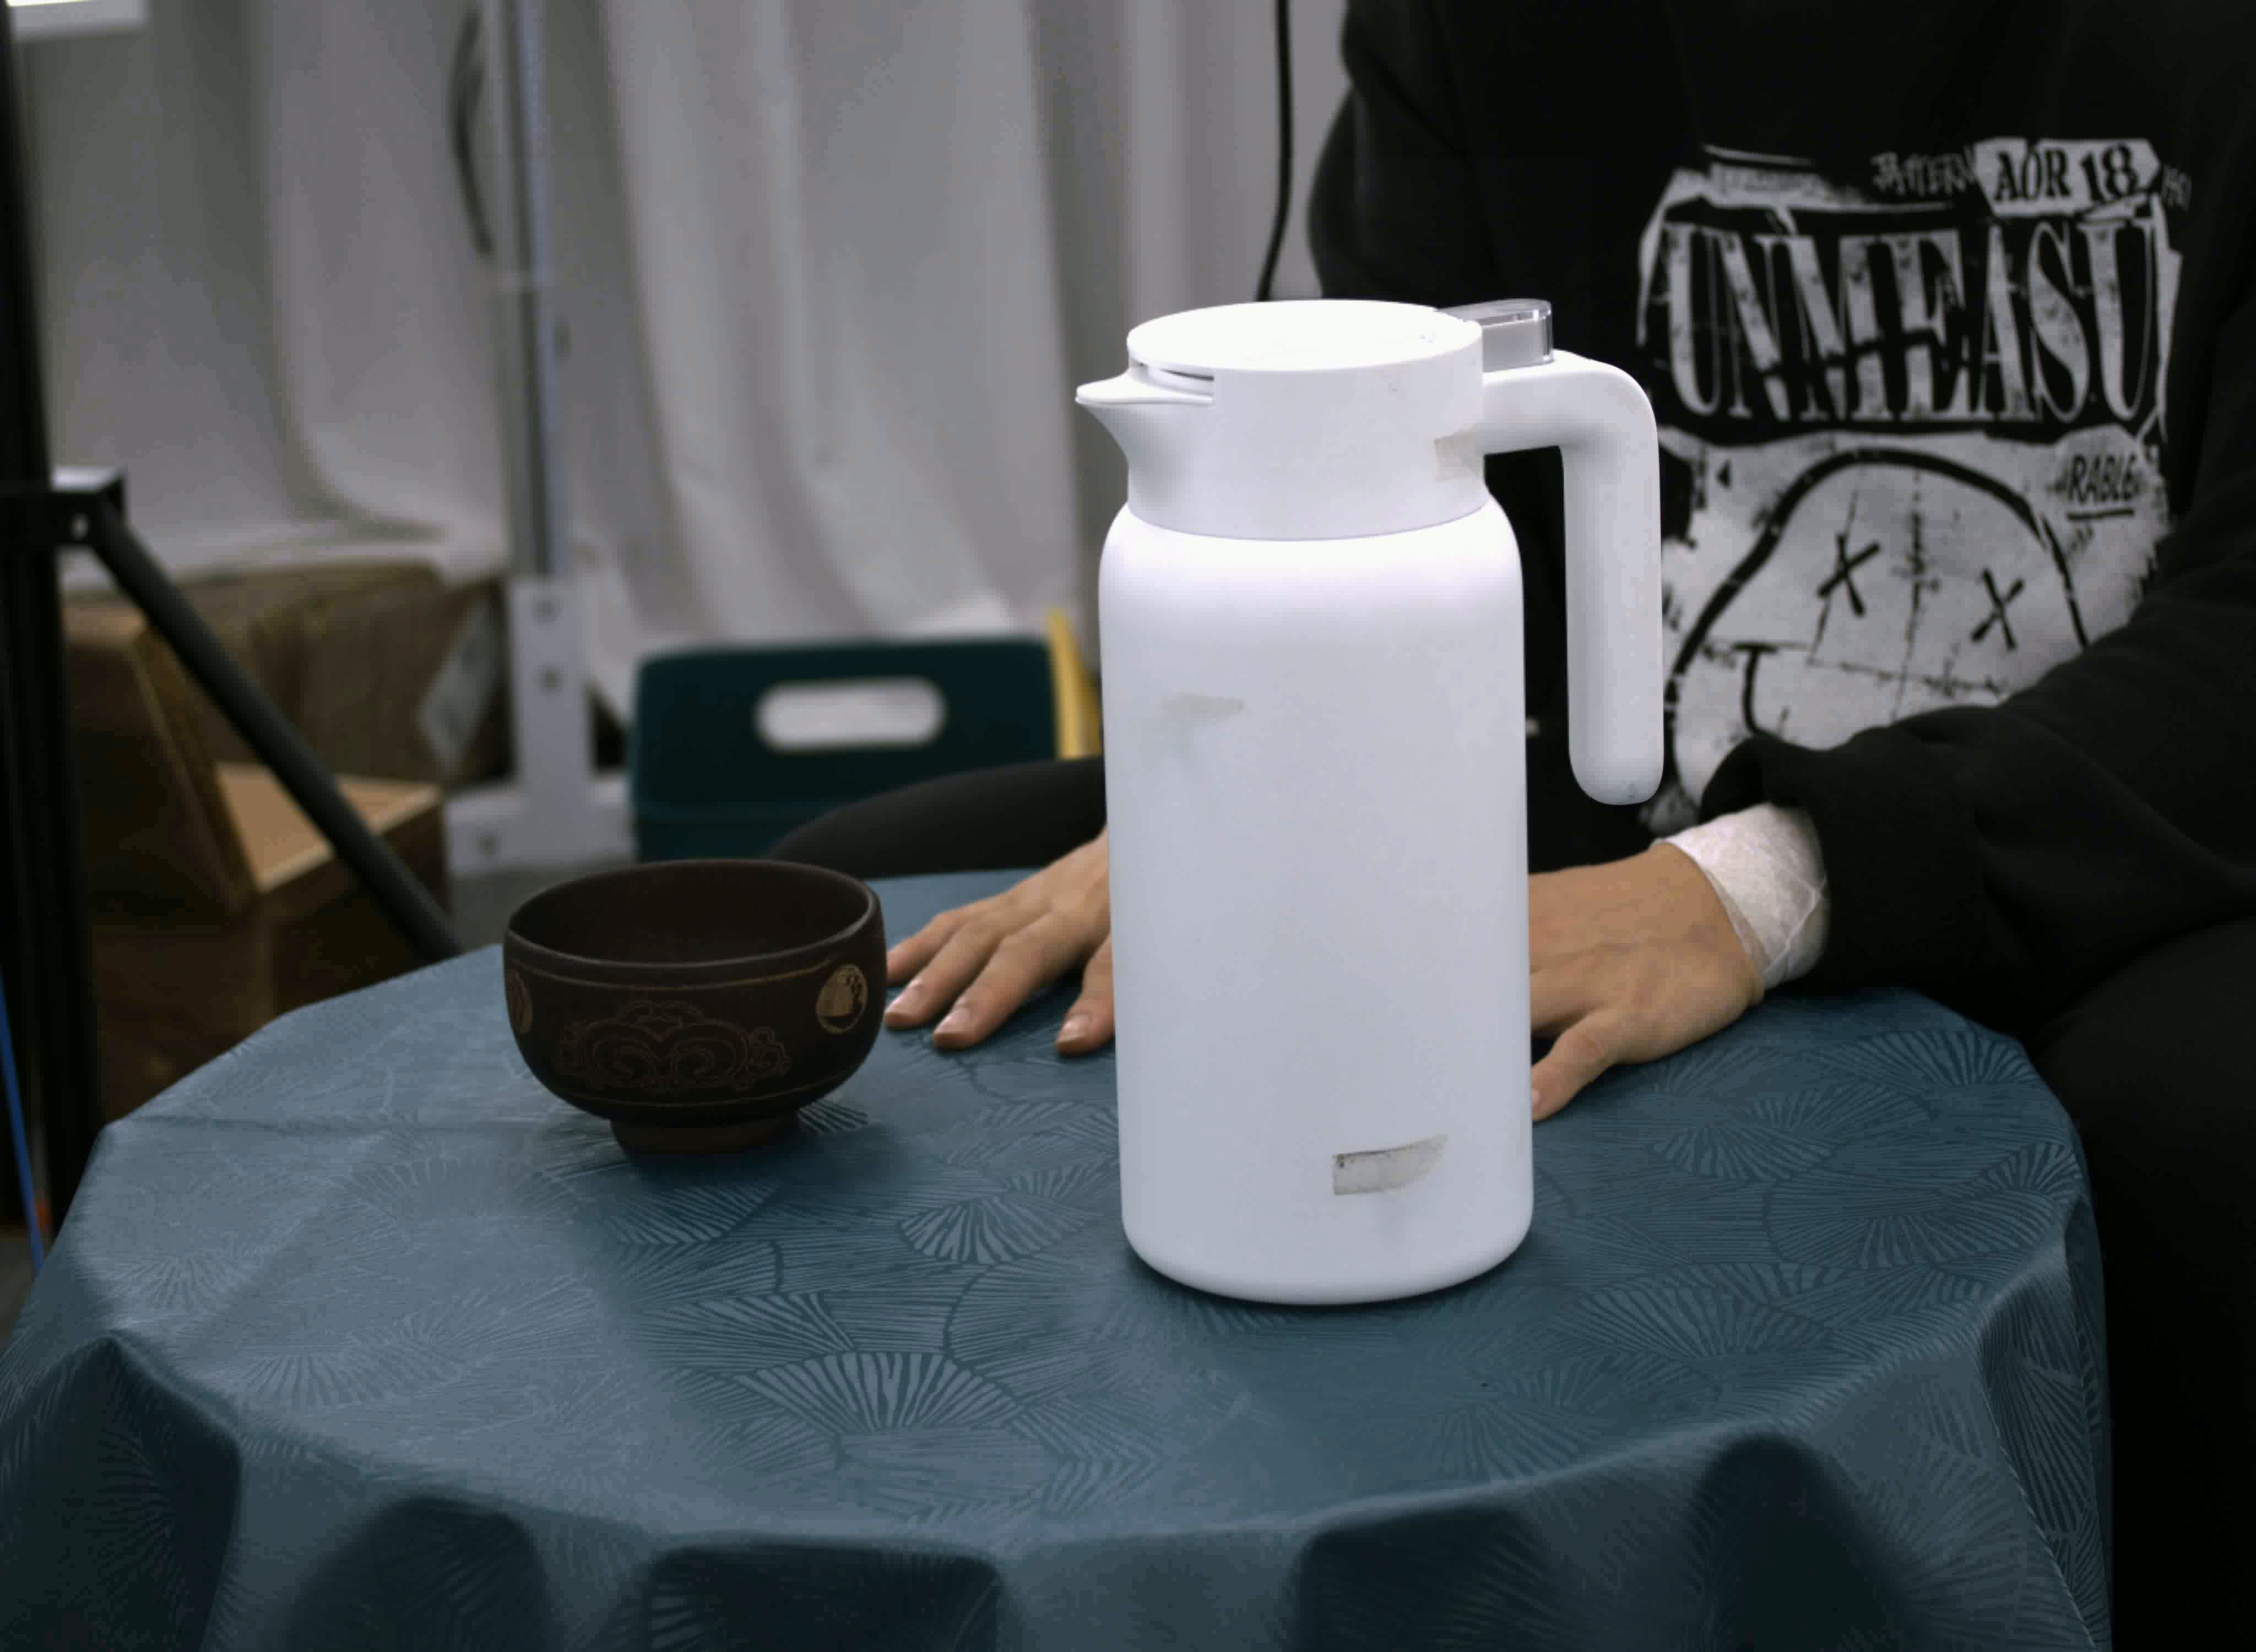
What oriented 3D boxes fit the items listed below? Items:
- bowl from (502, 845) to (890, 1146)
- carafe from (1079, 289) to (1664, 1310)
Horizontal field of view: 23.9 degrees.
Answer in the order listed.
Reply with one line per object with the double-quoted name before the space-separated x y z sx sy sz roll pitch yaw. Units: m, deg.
"bowl" -0.130 0.056 1.625 0.117 0.070 0.118 -4 17 0
"carafe" 0.068 -0.011 1.476 0.169 0.269 0.126 -9 14 -24
